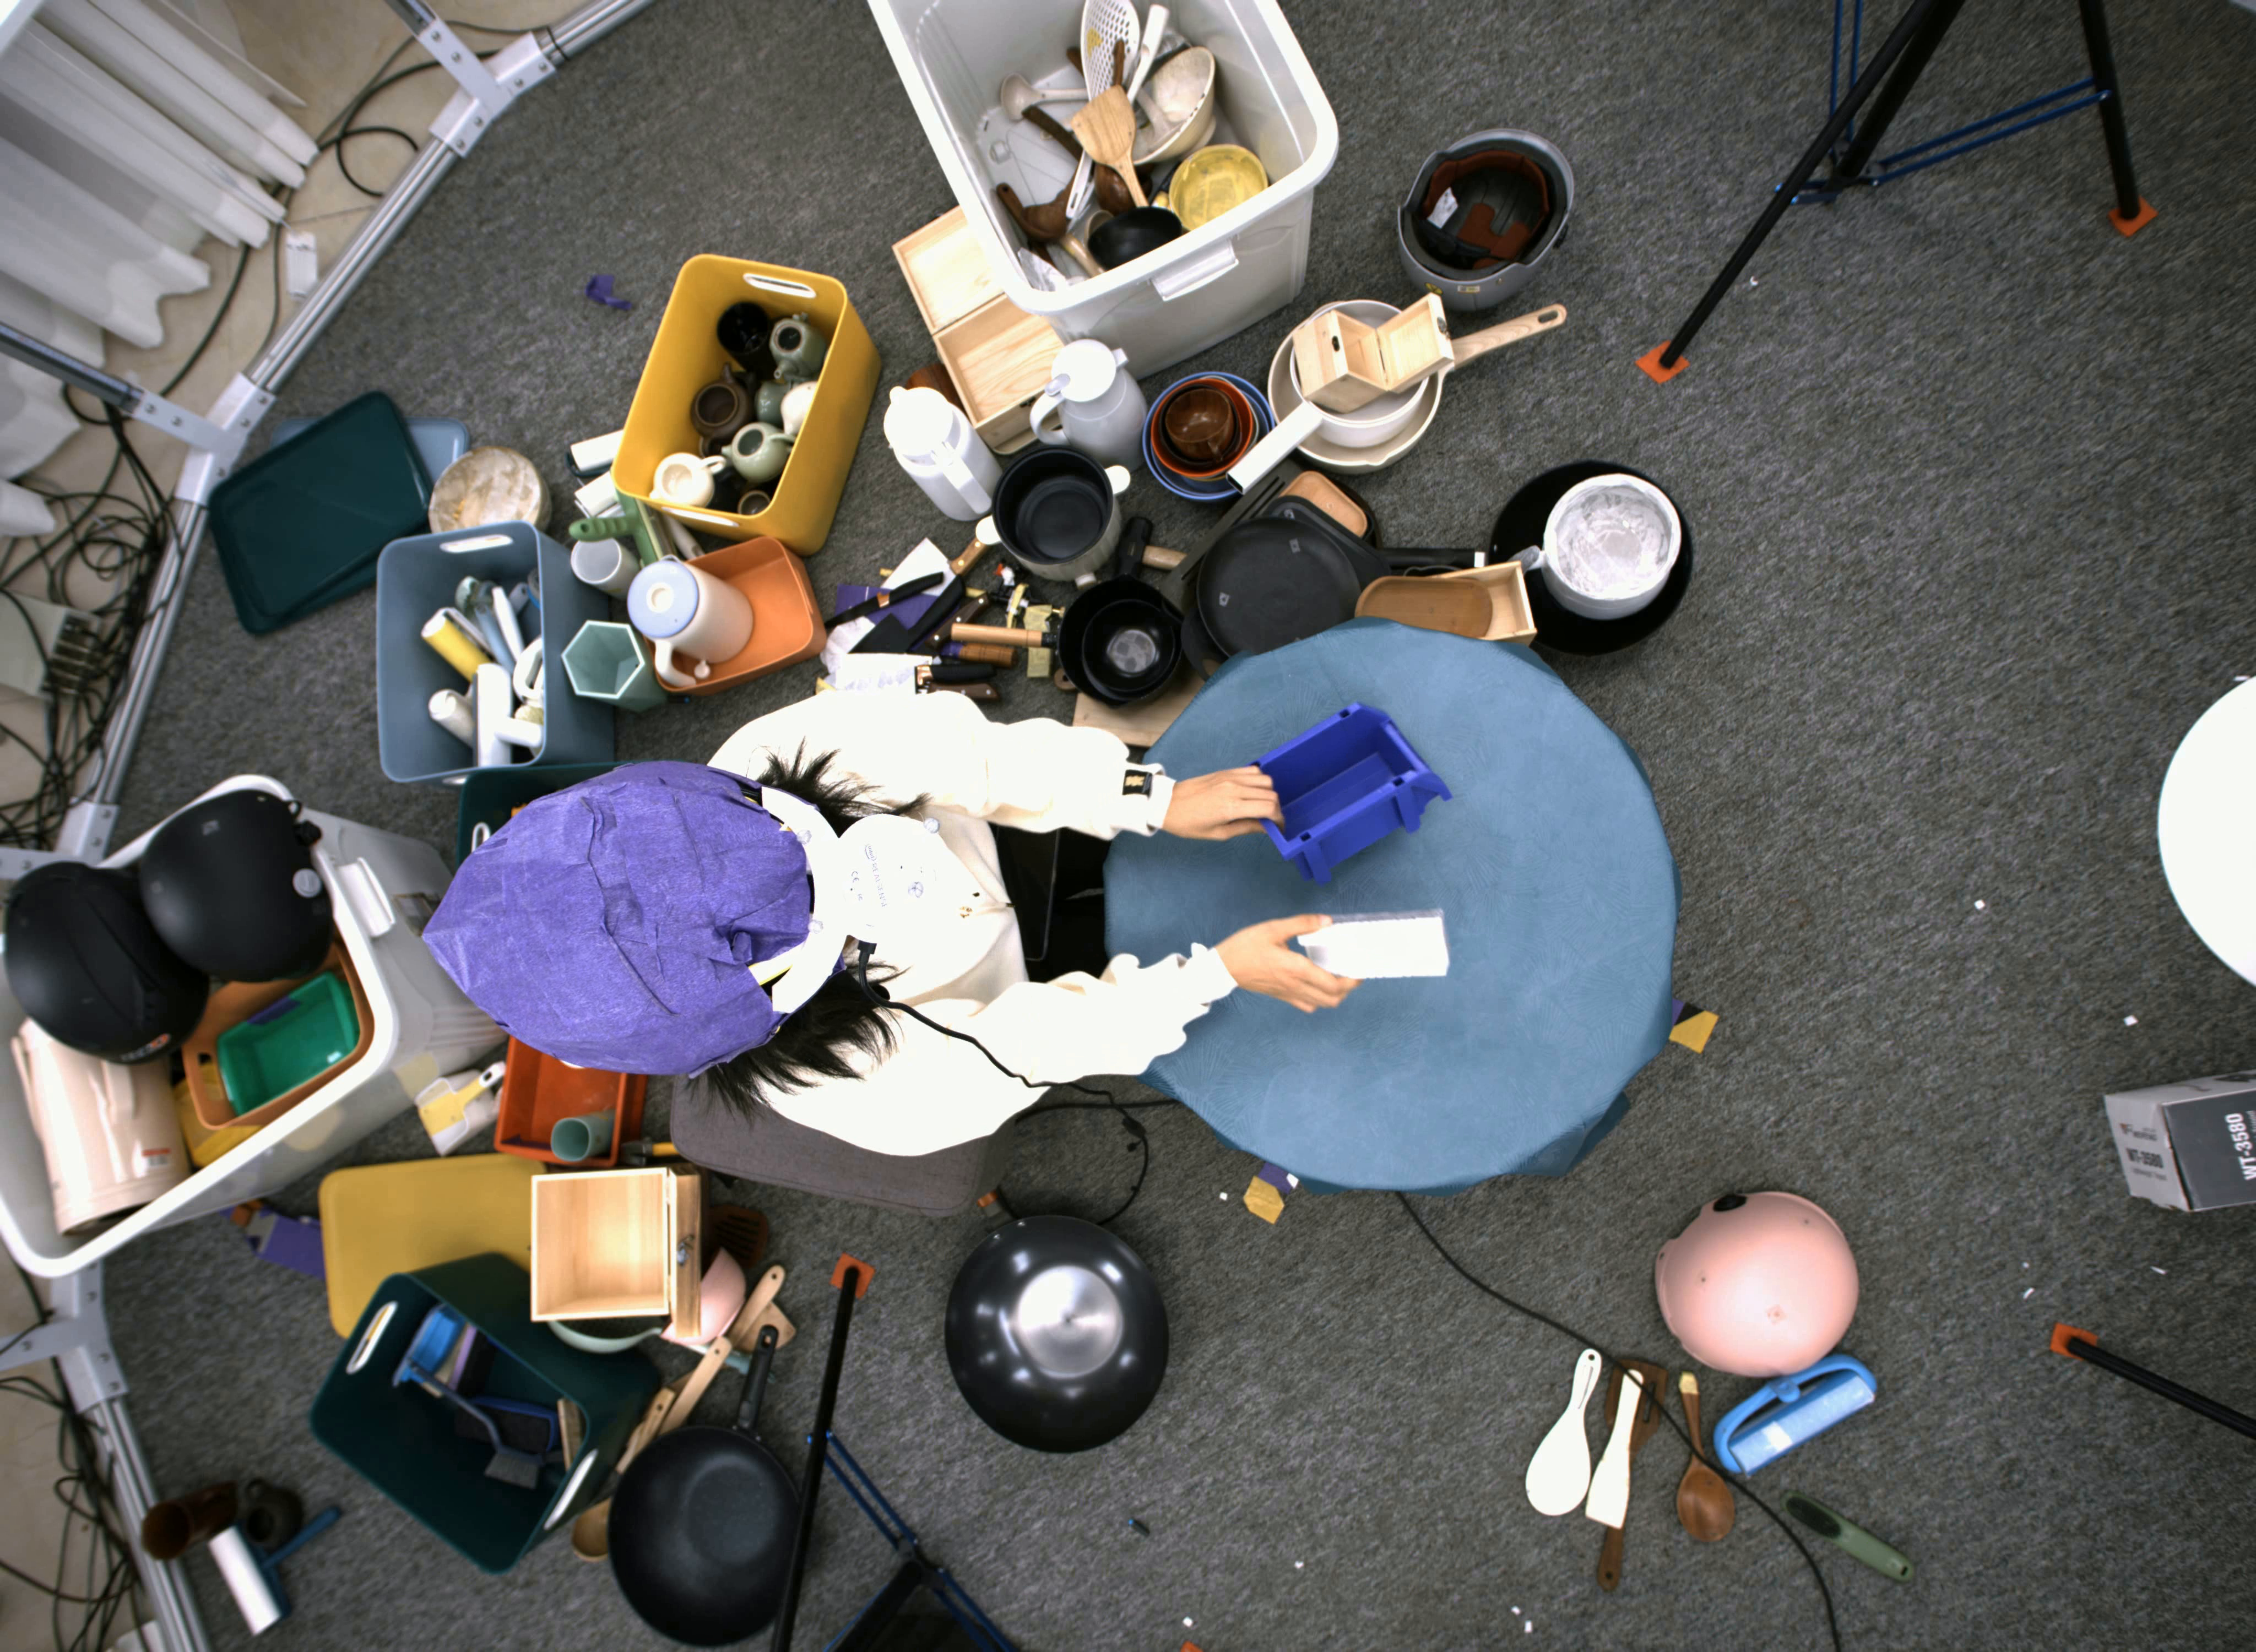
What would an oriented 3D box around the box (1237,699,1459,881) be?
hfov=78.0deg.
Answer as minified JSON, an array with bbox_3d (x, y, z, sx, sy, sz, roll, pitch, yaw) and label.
[{"bbox_3d":[0.220,-0.042,1.383,0.180,0.083,0.122,-31,50,4],"label":"box"}]

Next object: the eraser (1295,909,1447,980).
[{"bbox_3d":[0.231,0.110,1.312,0.135,0.045,0.050,-8,117,26],"label":"eraser"}]
